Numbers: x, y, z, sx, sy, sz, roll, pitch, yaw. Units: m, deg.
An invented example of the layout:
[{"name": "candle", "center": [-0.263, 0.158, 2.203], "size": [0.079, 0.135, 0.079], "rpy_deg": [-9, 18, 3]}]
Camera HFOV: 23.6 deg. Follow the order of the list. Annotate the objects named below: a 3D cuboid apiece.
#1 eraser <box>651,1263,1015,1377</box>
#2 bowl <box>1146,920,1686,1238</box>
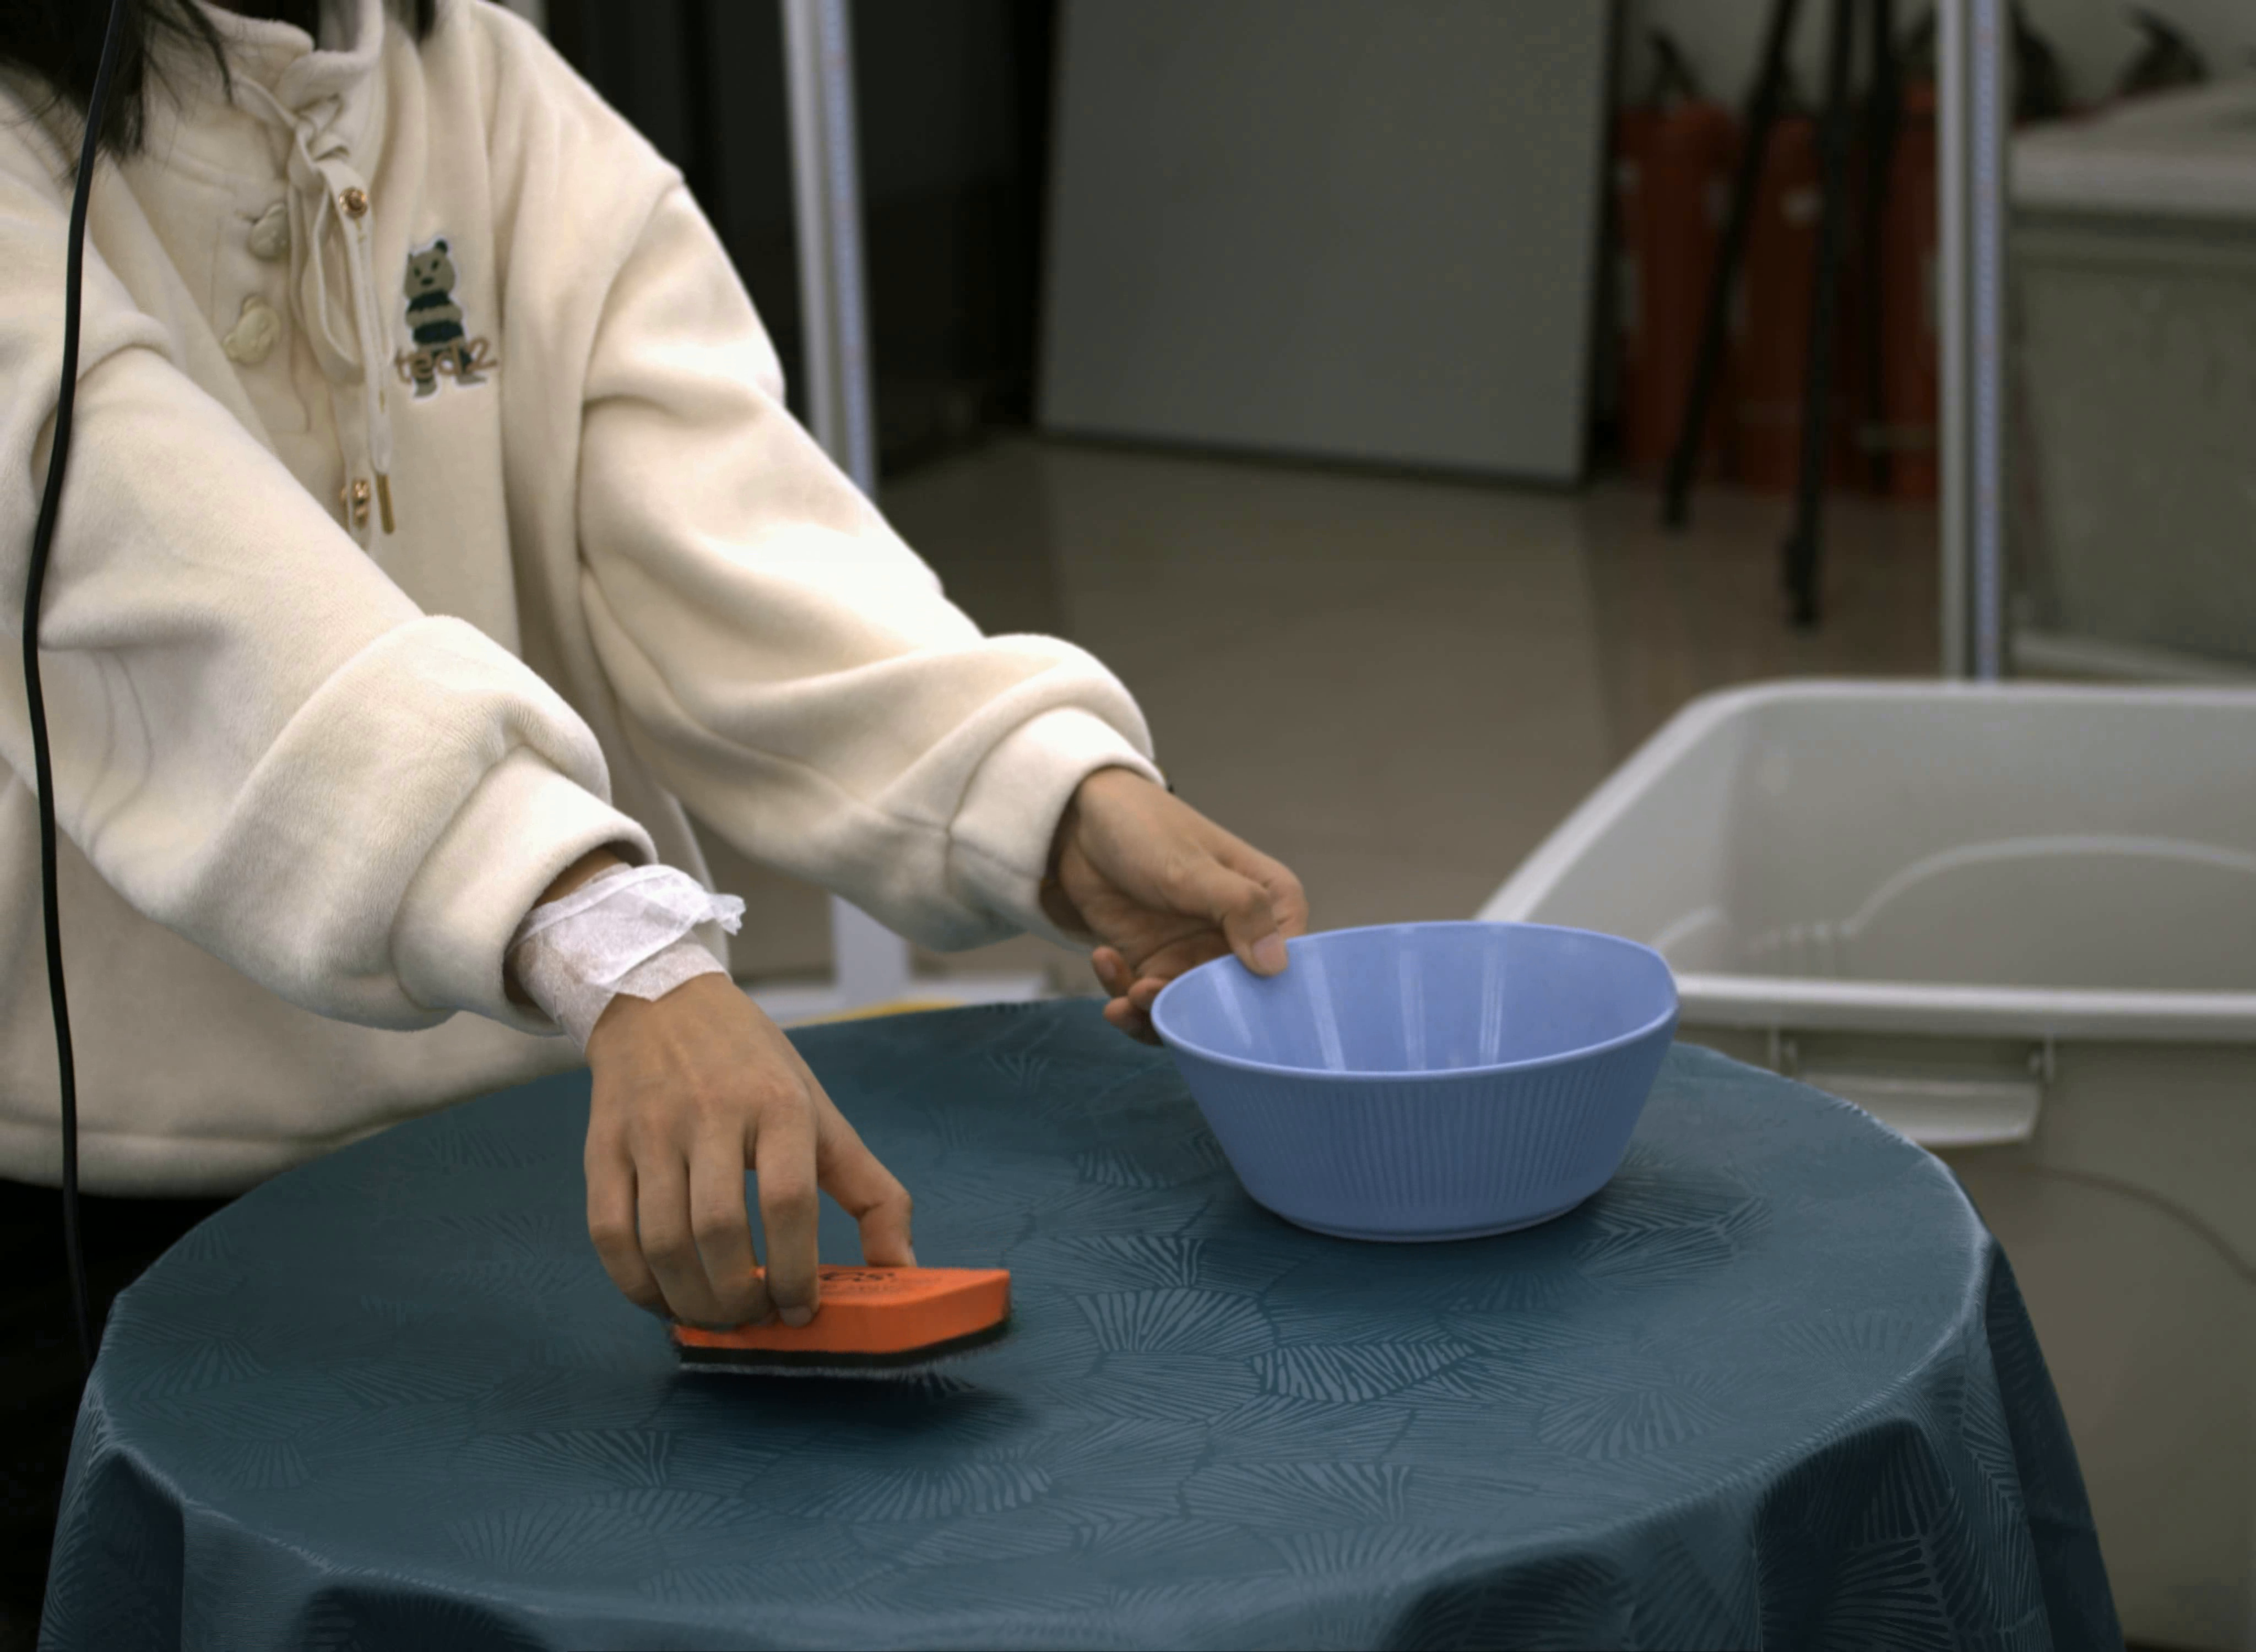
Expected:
[{"name": "eraser", "center": [-0.088, 0.146, 1.602], "size": [0.109, 0.023, 0.058], "rpy_deg": [-5, 6, 43]}, {"name": "bowl", "center": [0.094, 0.084, 1.740], "size": [0.174, 0.071, 0.176], "rpy_deg": [-5, 14, 0]}]
